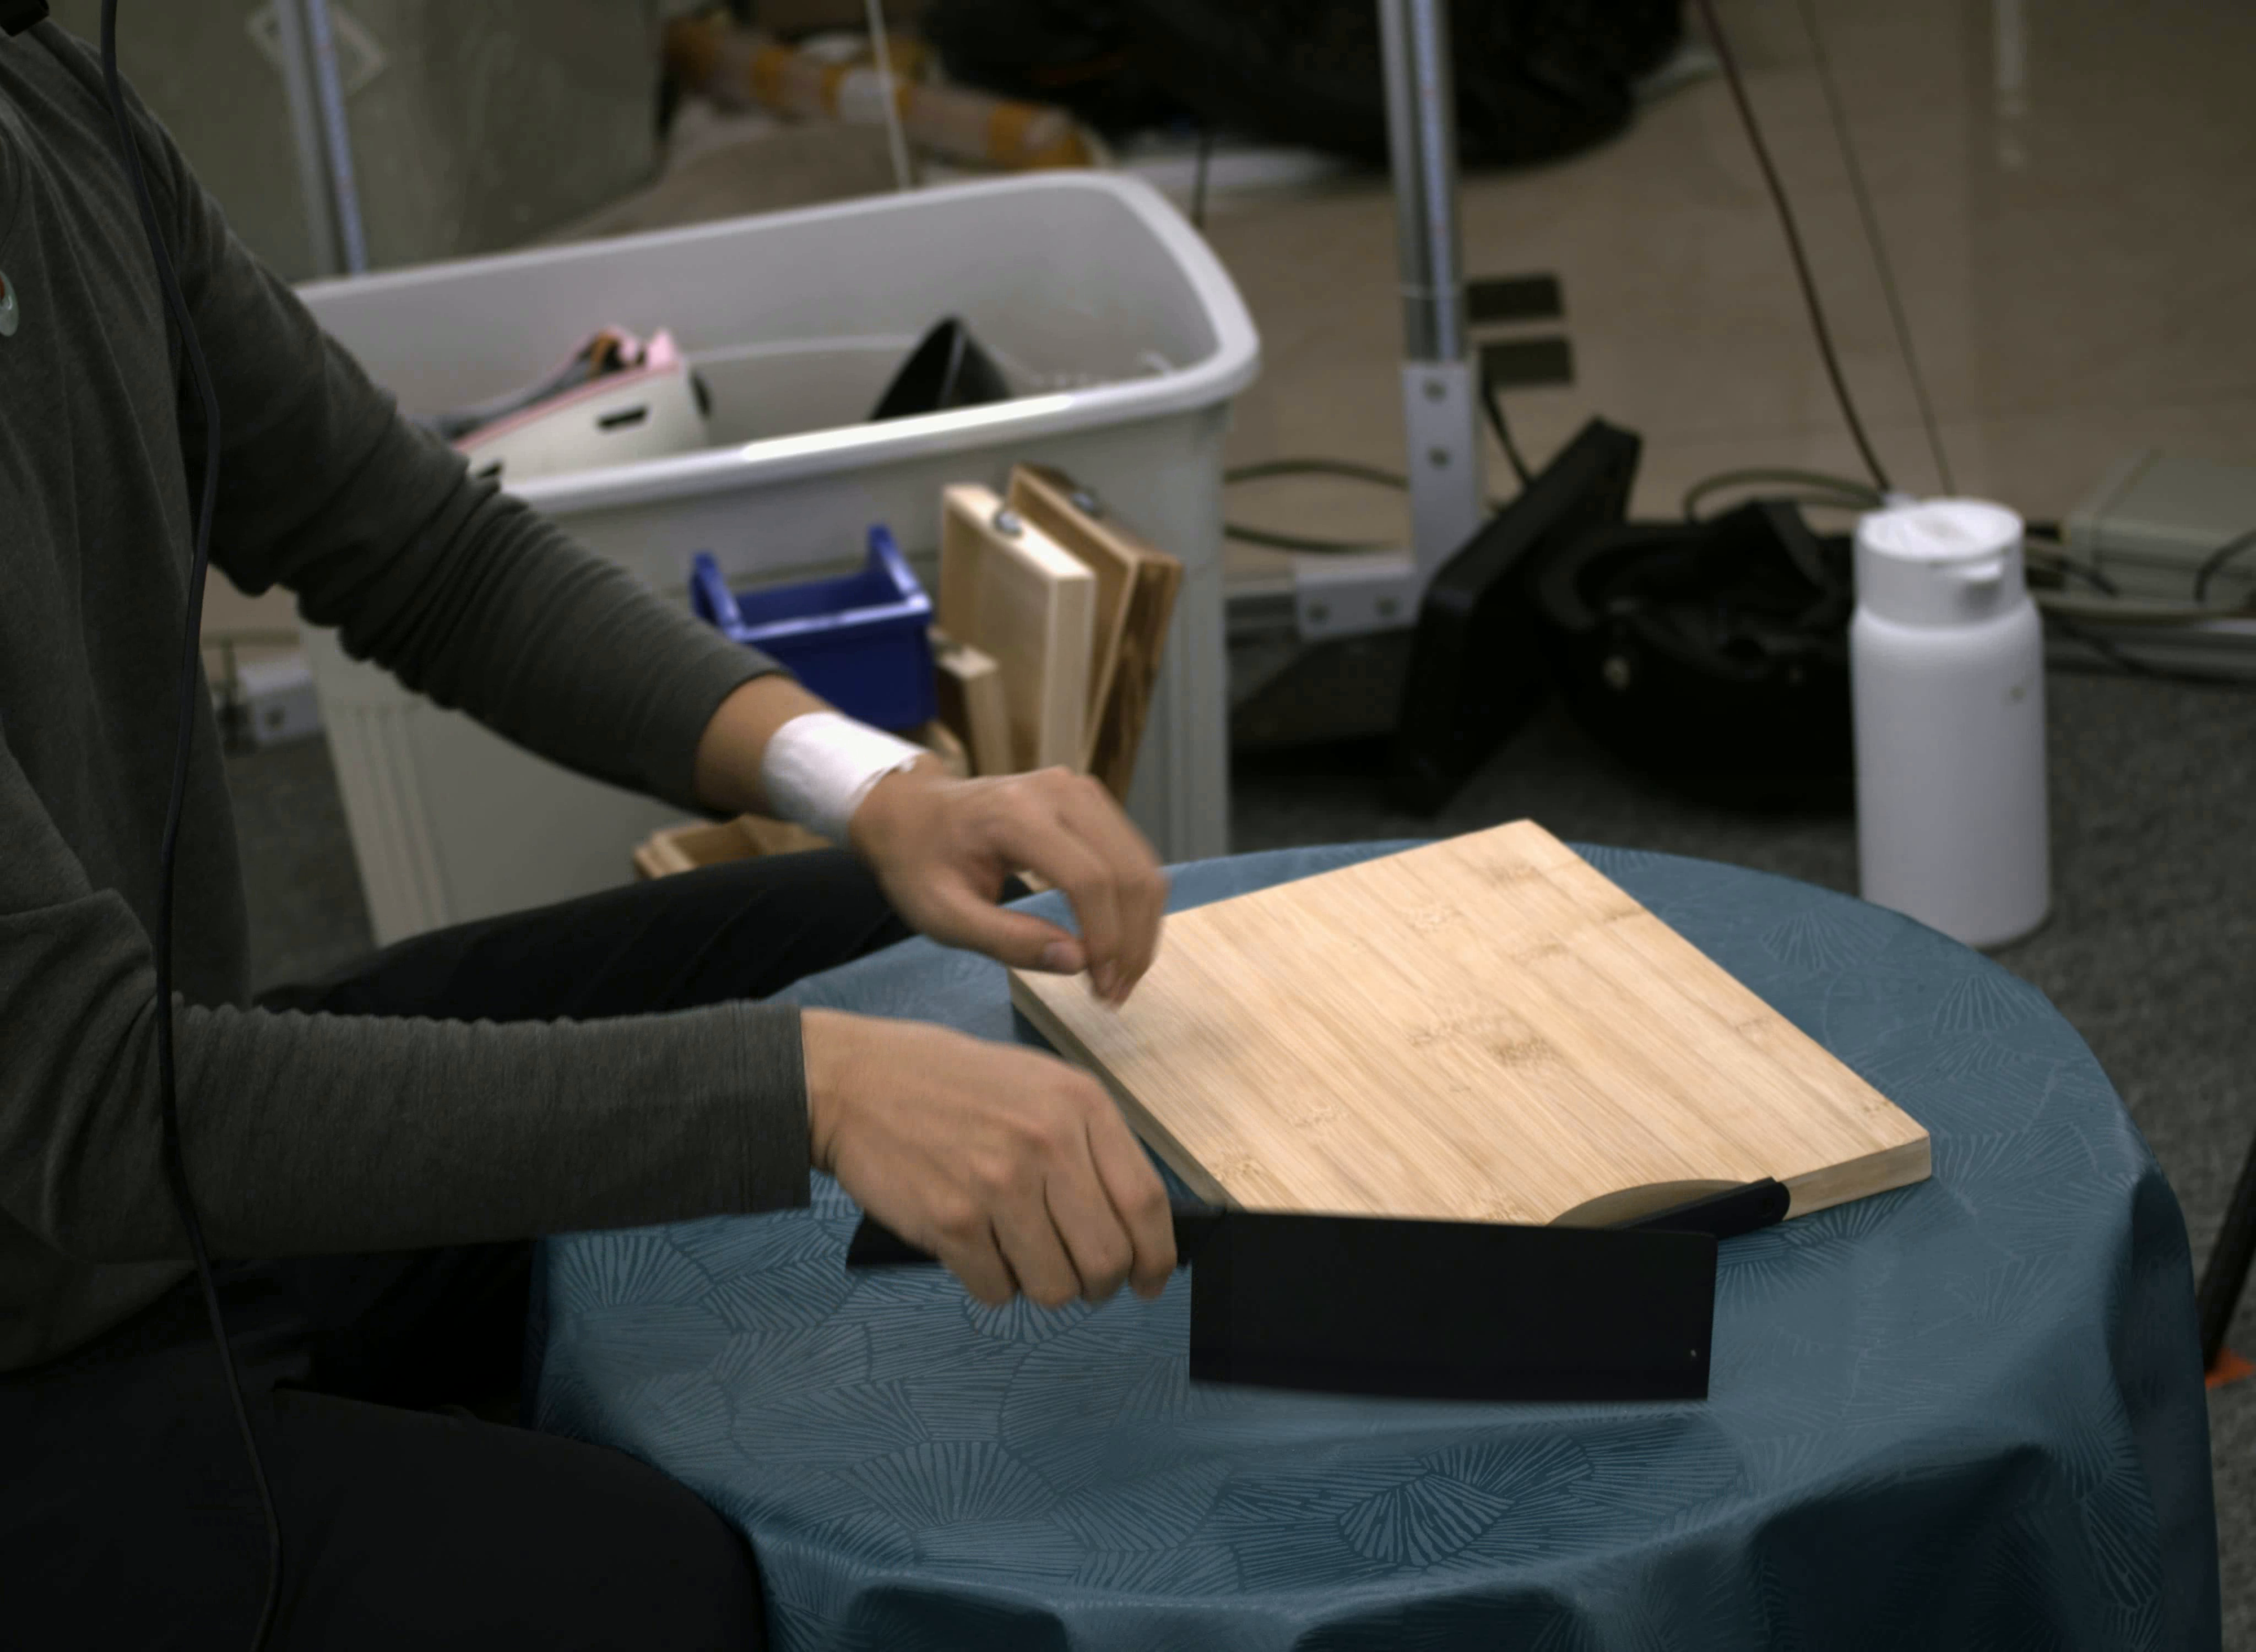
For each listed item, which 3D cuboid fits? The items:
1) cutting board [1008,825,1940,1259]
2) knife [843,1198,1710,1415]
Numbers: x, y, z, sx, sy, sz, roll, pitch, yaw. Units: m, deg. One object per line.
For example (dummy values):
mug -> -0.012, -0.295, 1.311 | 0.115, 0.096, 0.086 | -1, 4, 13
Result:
cutting board -> 0.125, 0.095, 2.197 | 0.250, 0.024, 0.344 | -16, 26, -18
knife -> 0.052, 0.165, 1.969 | 0.302, 0.081, 0.021 | 6, 4, 3
